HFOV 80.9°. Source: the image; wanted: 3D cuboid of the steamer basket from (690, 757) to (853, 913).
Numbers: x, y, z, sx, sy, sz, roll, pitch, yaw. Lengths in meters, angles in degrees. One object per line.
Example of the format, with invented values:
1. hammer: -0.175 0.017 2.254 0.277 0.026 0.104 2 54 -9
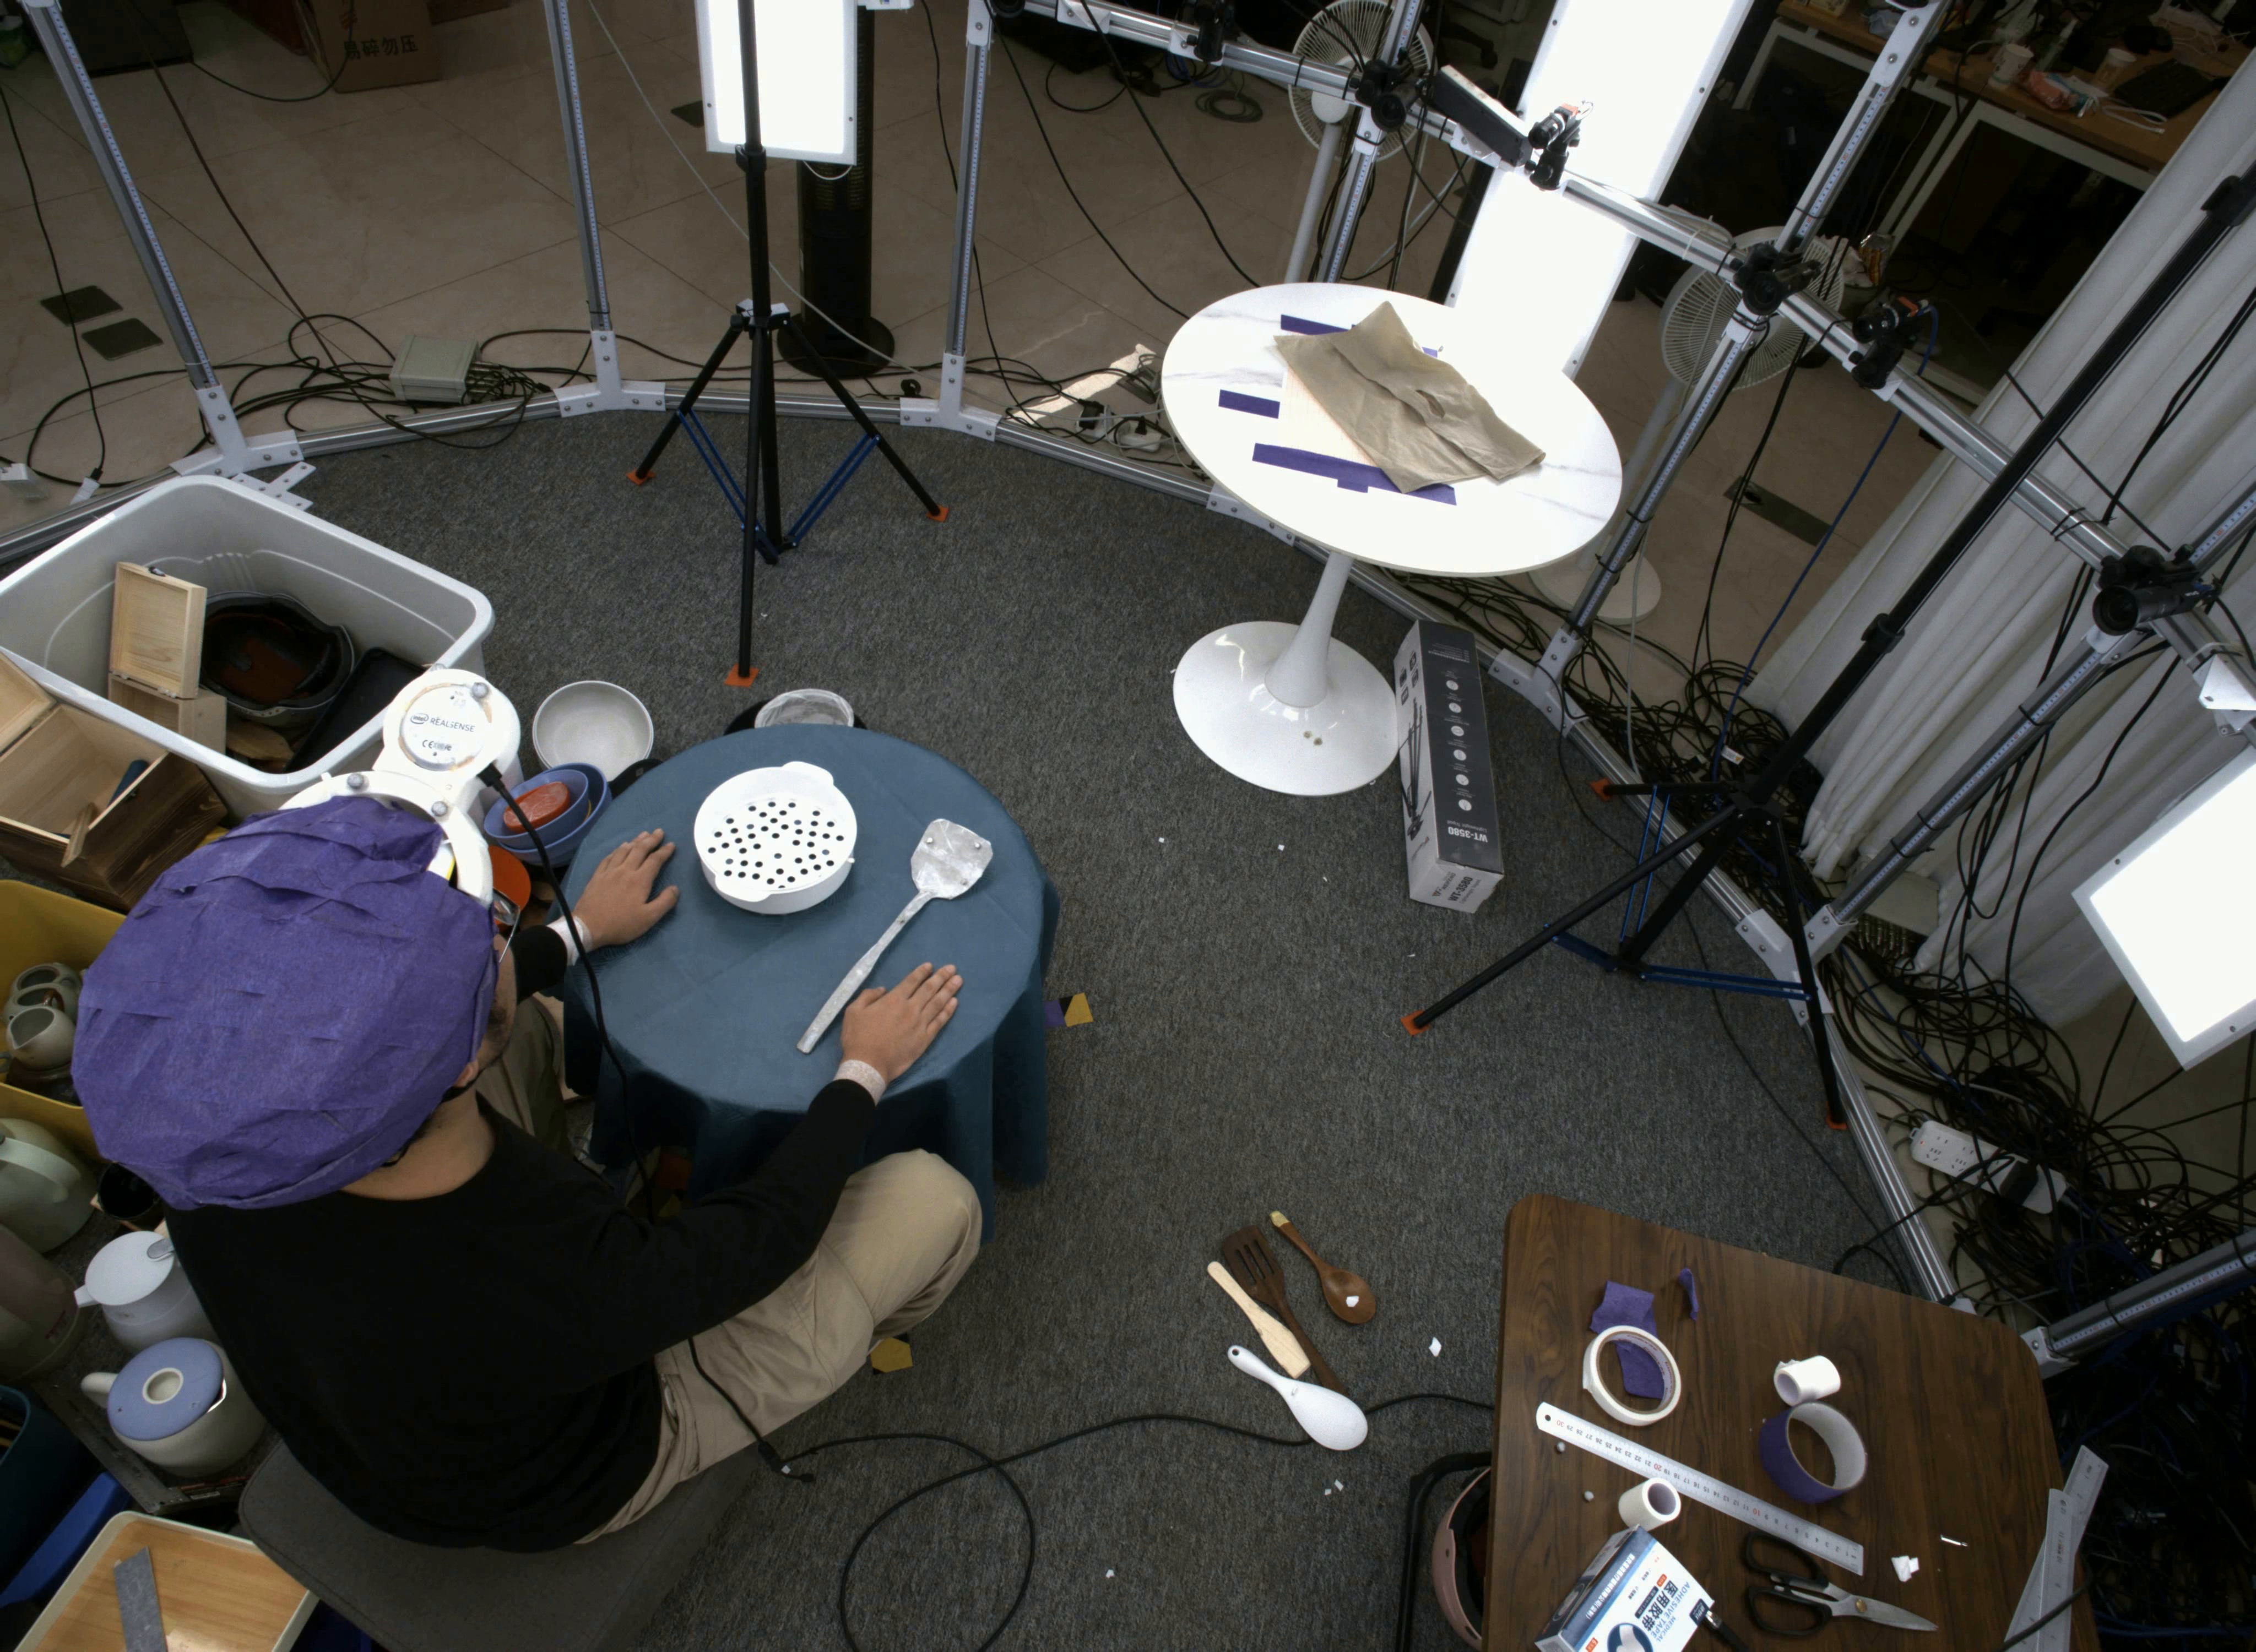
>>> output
1. steamer basket: -0.453 0.015 1.654 0.200 0.070 0.228 18 52 1

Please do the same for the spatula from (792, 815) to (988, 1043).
1. spatula: -0.304 0.128 1.630 0.097 0.045 0.363 30 52 6
